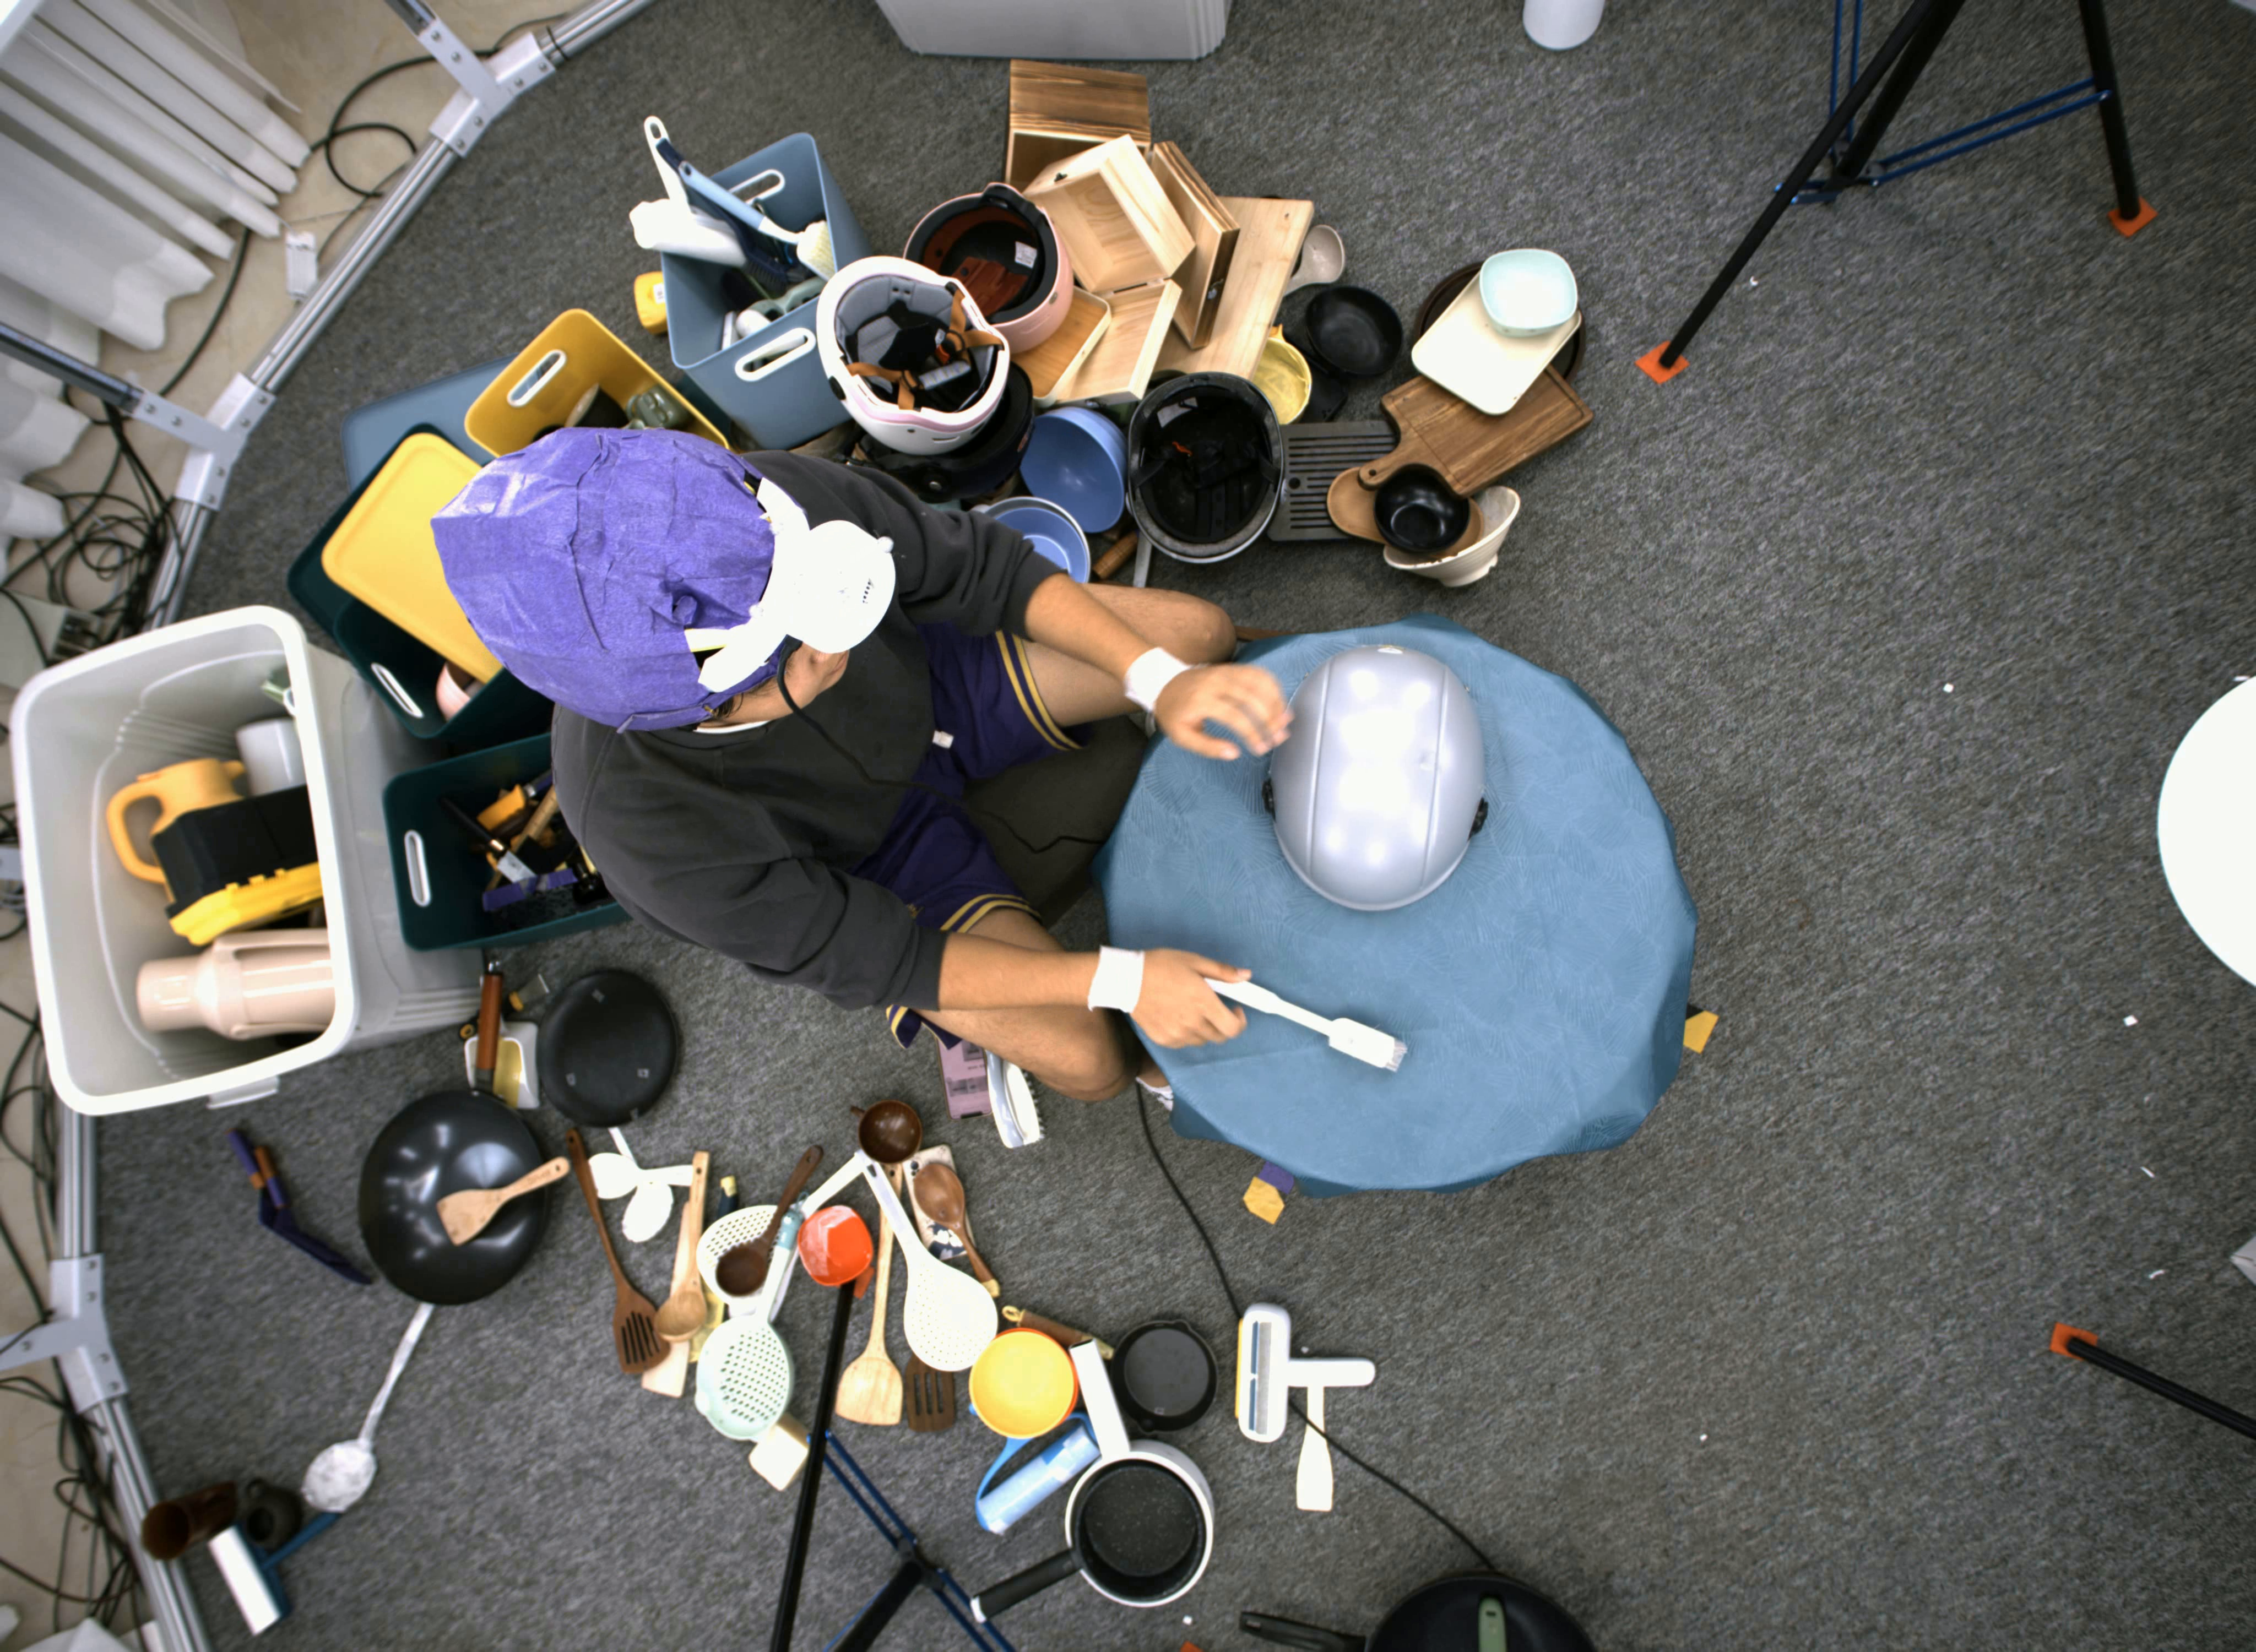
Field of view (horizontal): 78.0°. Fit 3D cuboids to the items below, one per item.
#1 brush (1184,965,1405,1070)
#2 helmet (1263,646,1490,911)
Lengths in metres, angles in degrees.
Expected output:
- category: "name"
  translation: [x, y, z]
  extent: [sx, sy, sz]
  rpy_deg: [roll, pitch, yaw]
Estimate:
- category: "brush"
  translation: [0.173, 0.197, 1.458]
  extent: [0.243, 0.050, 0.034]
  rpy_deg: [19, 85, 24]
- category: "helmet"
  translation: [0.251, -0.054, 1.387]
  extent: [0.233, 0.168, 0.276]
  rpy_deg: [6, 89, 11]
